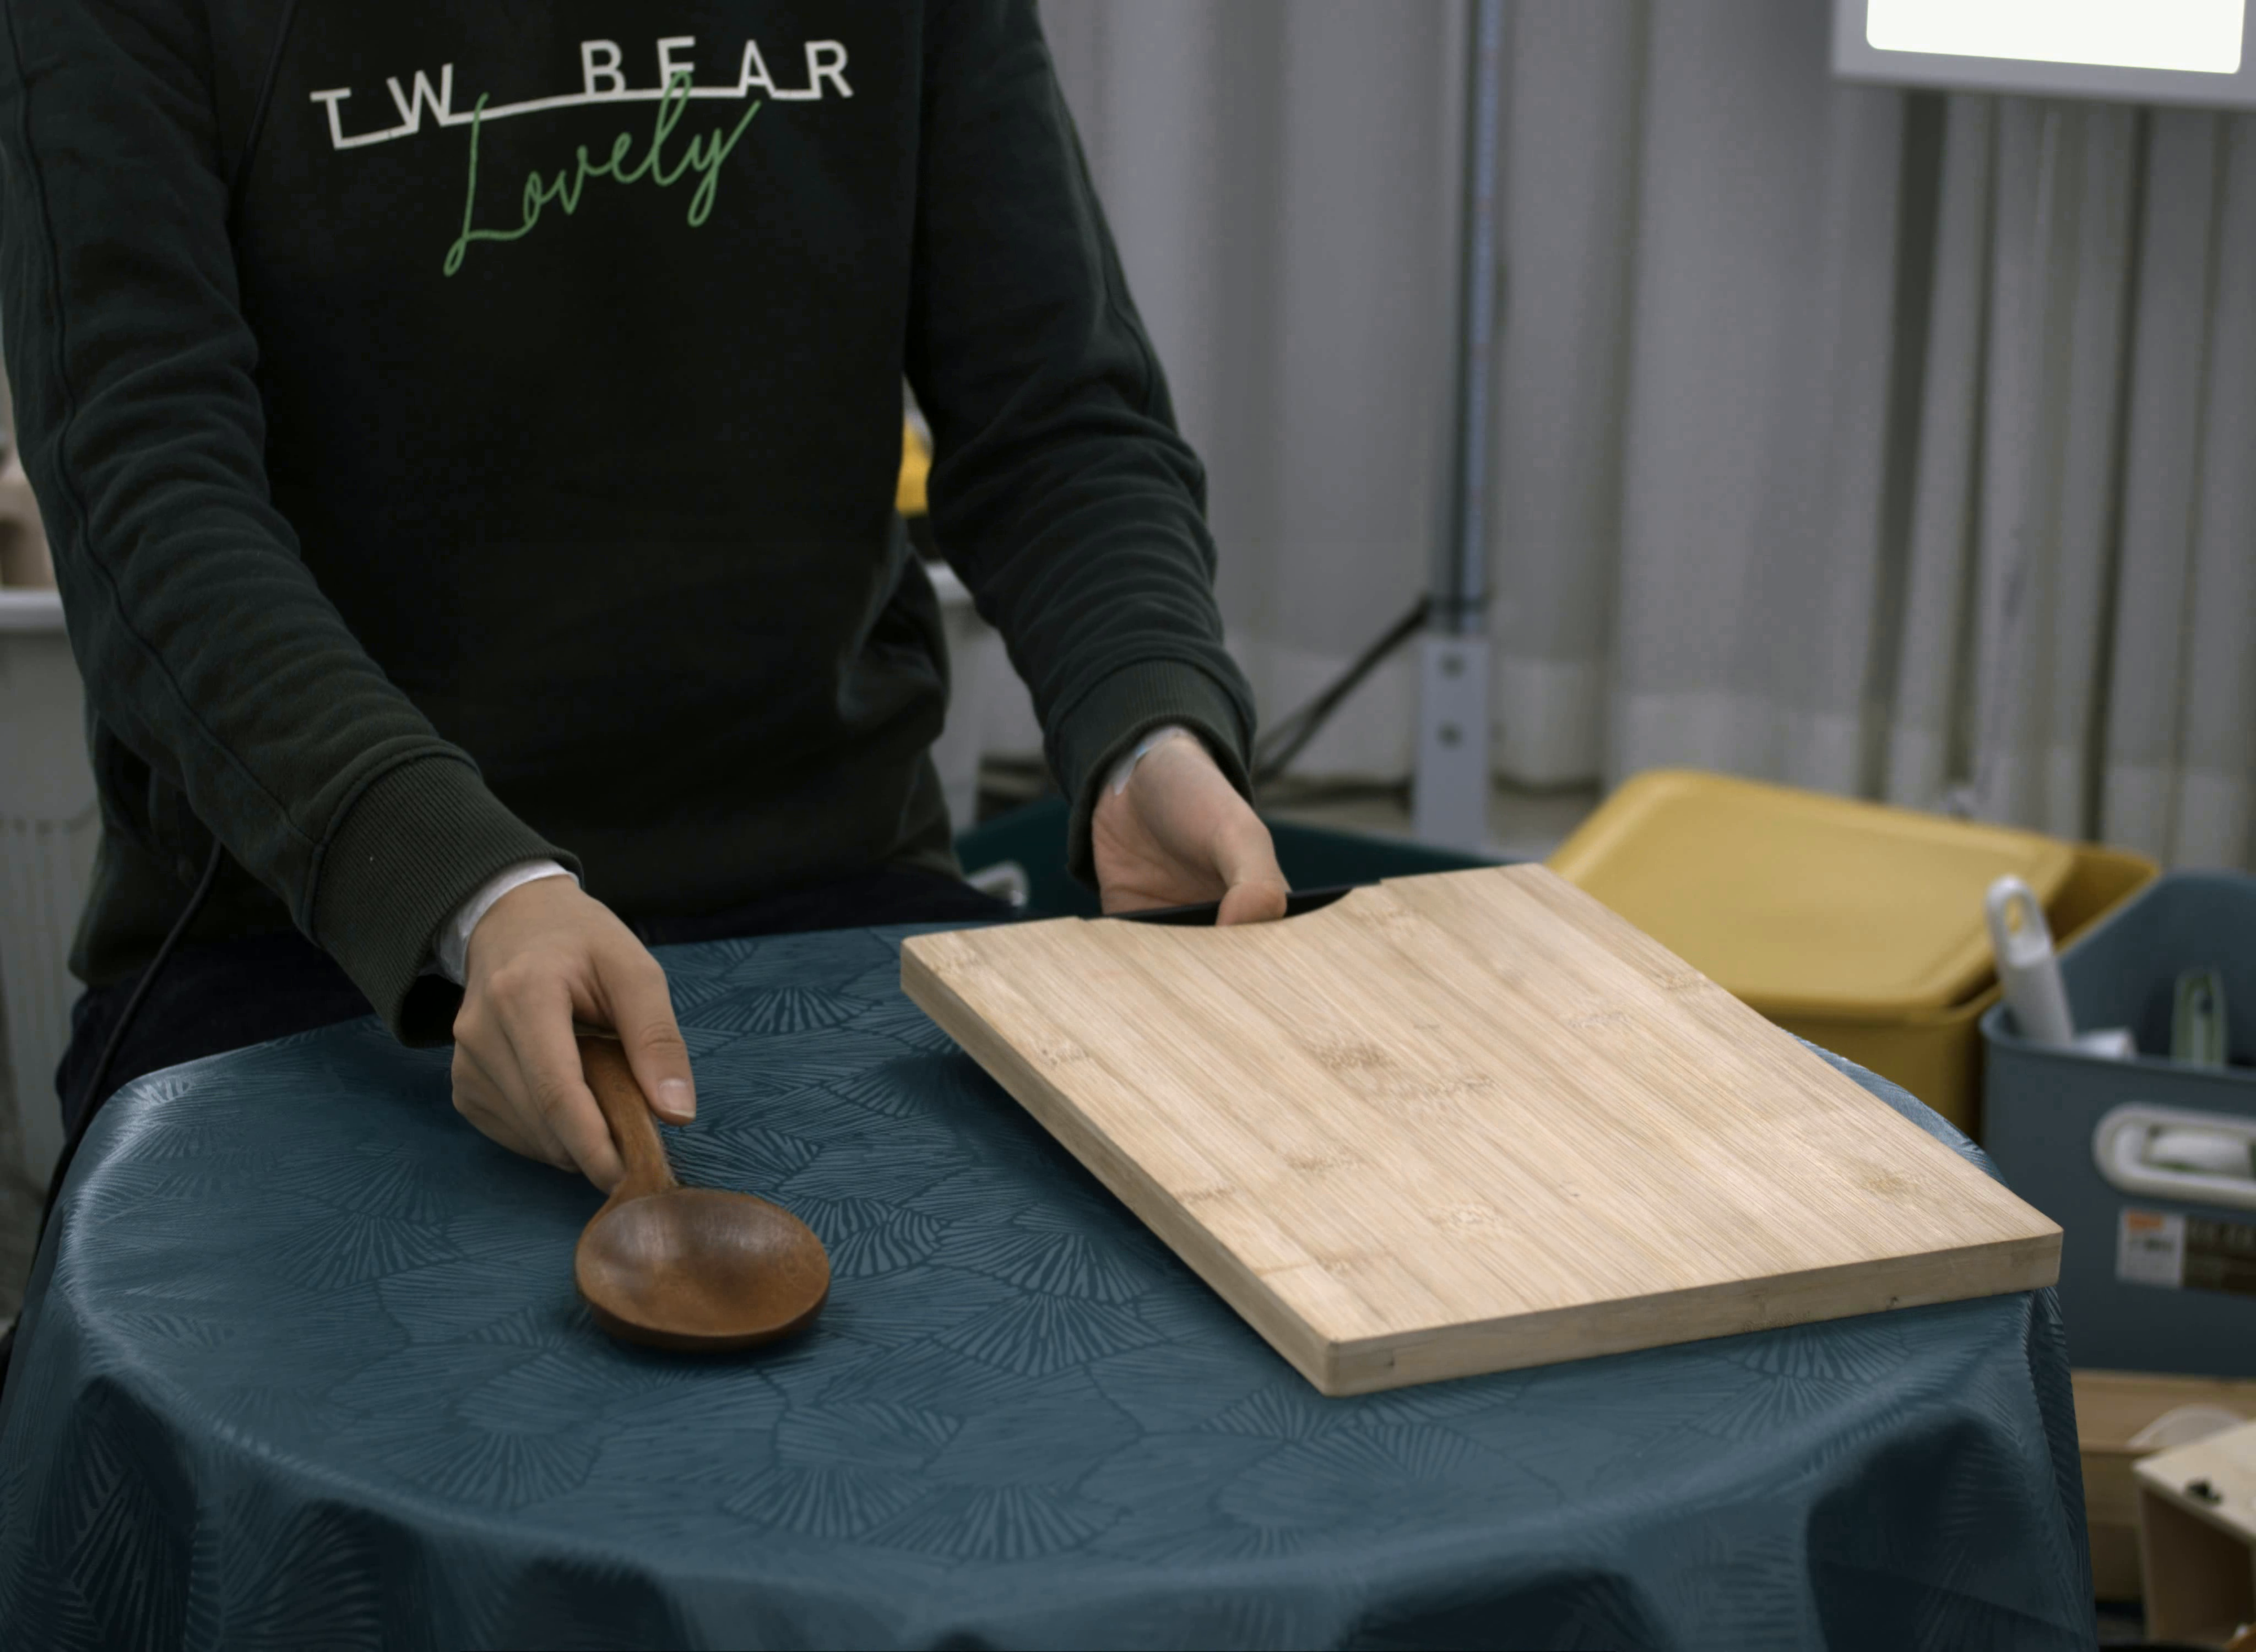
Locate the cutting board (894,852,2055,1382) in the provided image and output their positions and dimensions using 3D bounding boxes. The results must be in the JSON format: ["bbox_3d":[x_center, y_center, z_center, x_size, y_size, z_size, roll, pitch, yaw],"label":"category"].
[{"bbox_3d":[0.097,0.084,1.656,0.251,0.024,0.344,-6,21,-24],"label":"cutting board"}]

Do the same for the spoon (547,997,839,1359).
[{"bbox_3d":[-0.140,0.105,1.569,0.075,0.017,0.213,-8,28,-16],"label":"spoon"}]
